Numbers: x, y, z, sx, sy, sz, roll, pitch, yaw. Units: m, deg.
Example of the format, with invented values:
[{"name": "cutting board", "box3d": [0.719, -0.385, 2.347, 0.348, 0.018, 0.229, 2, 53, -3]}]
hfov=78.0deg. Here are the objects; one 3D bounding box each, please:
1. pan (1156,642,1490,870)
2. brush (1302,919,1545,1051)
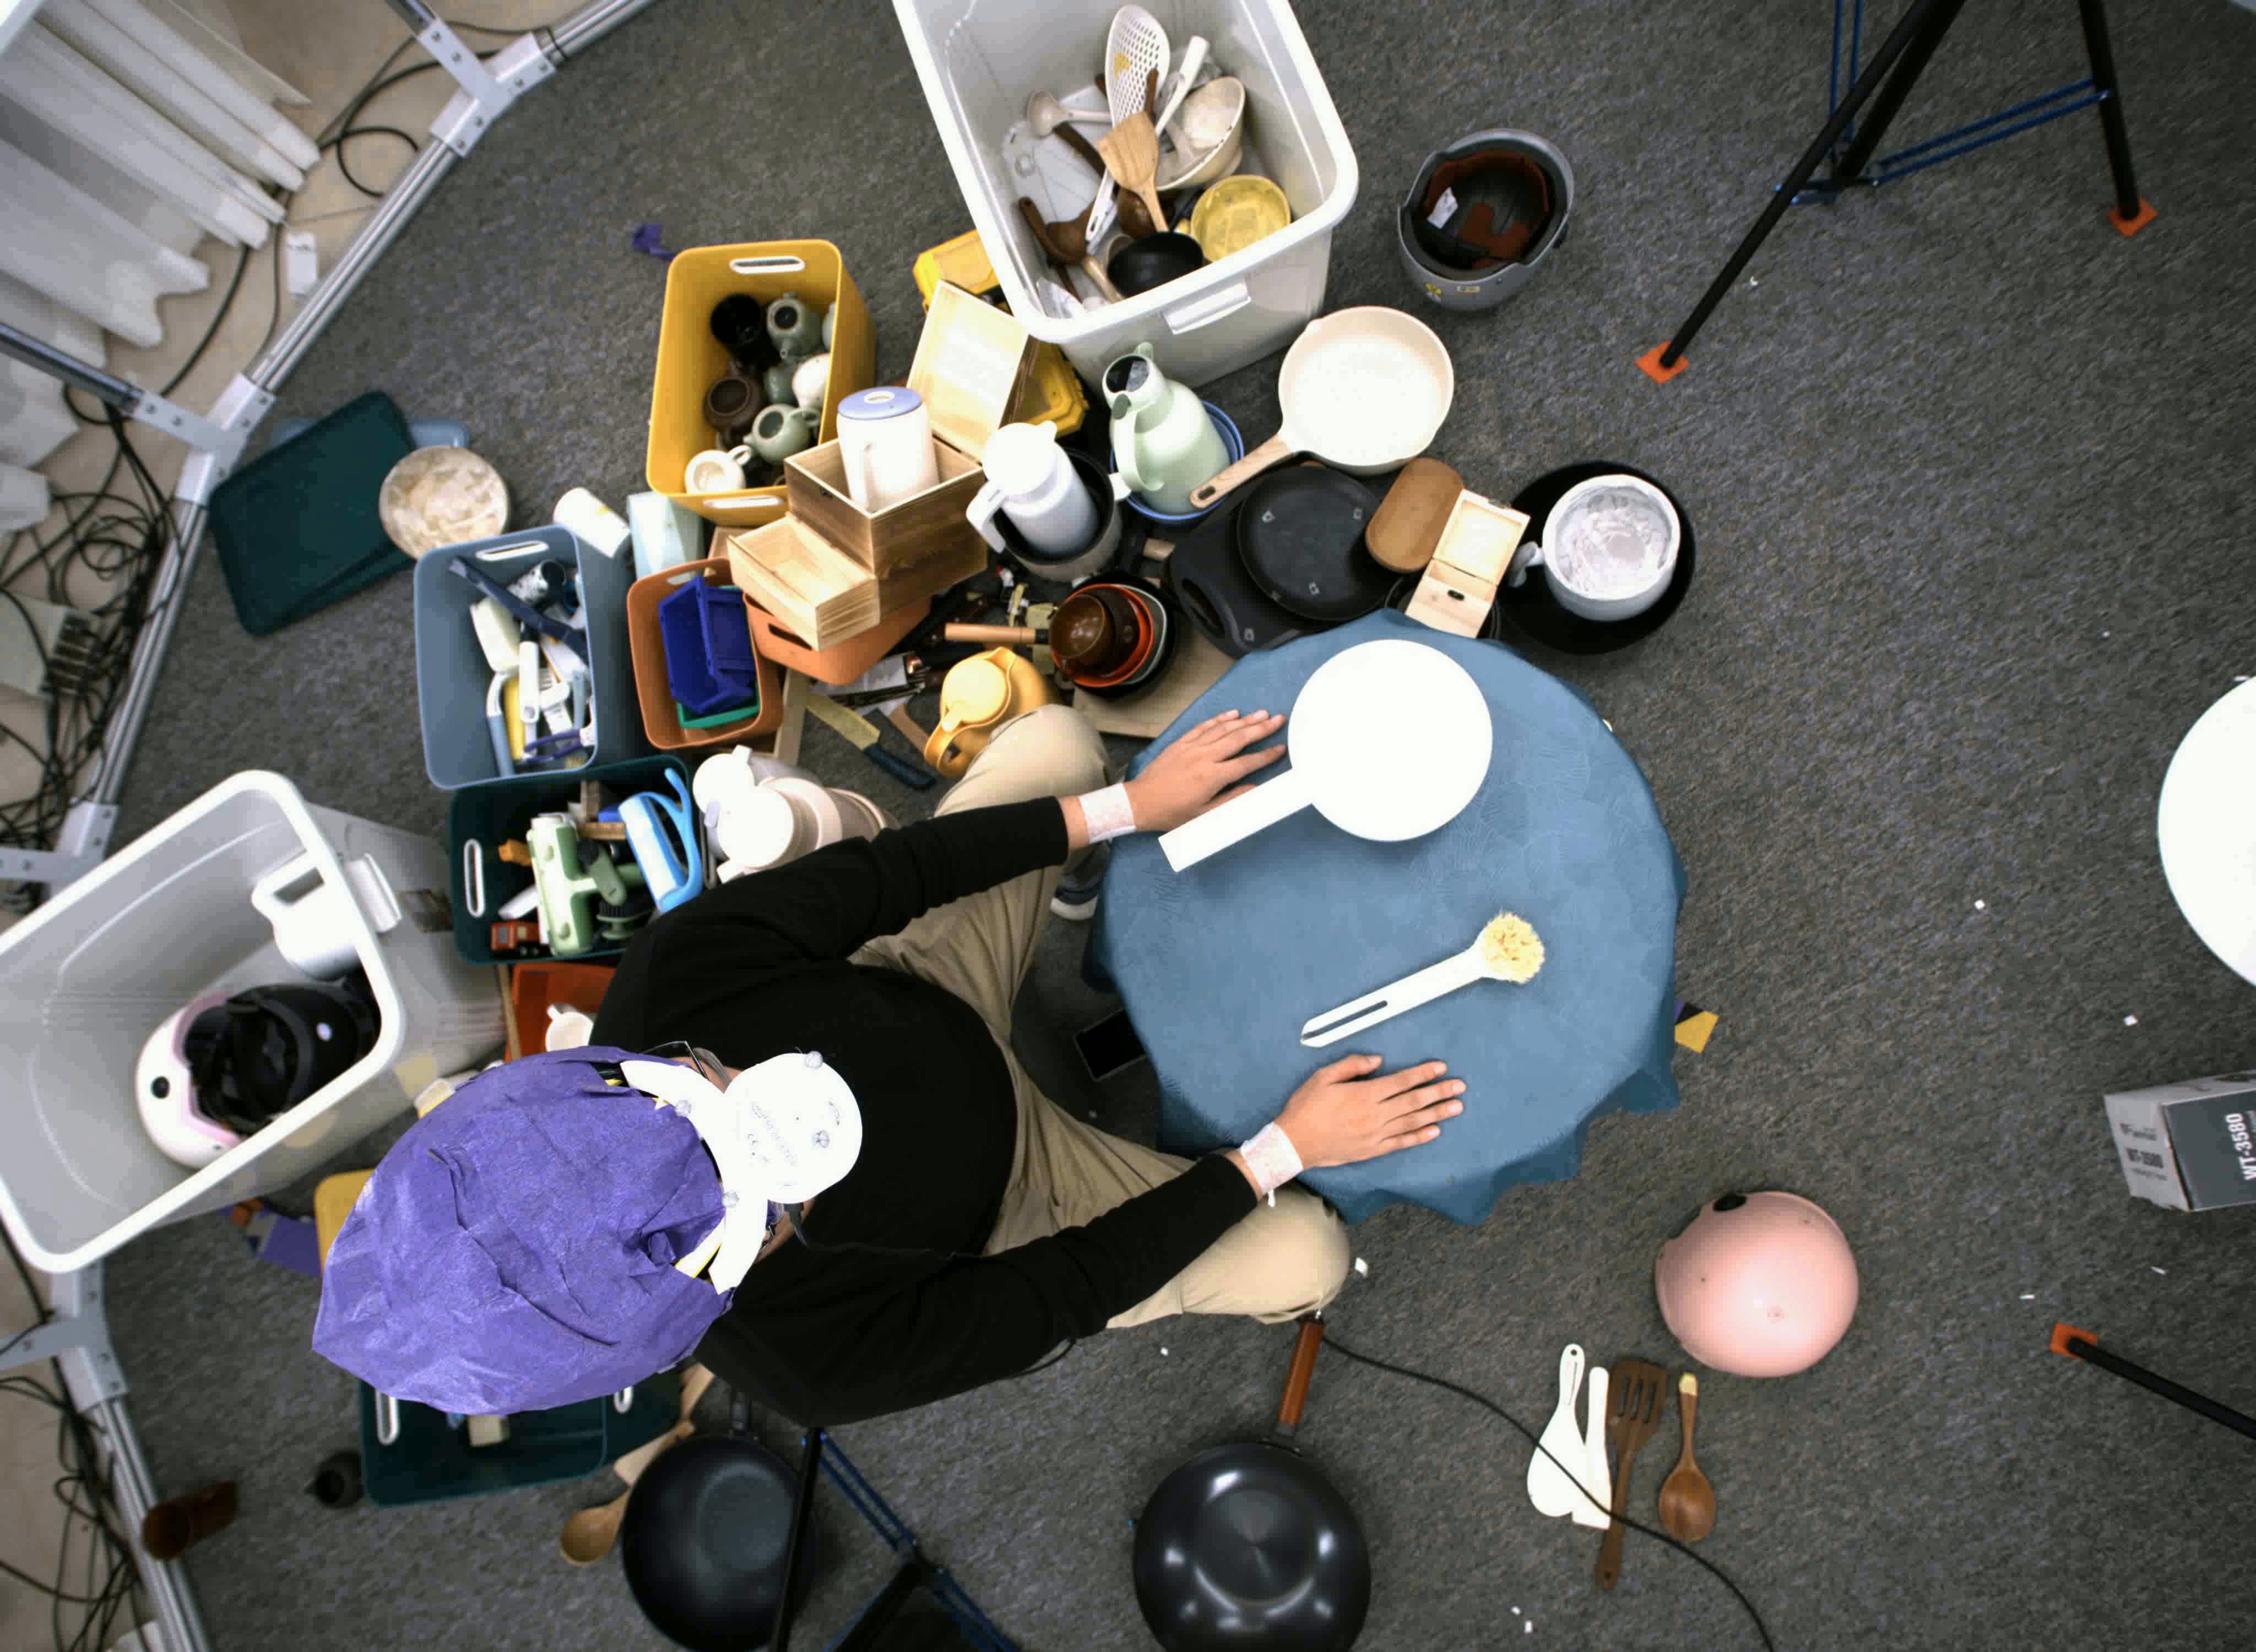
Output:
[{"name": "pan", "box3d": [0.200, -0.048, 1.432, 0.357, 0.102, 0.200, -28, 83, 9]}, {"name": "brush", "box3d": [0.301, 0.171, 1.422, 0.268, 0.056, 0.068, -24, 78, 9]}]
